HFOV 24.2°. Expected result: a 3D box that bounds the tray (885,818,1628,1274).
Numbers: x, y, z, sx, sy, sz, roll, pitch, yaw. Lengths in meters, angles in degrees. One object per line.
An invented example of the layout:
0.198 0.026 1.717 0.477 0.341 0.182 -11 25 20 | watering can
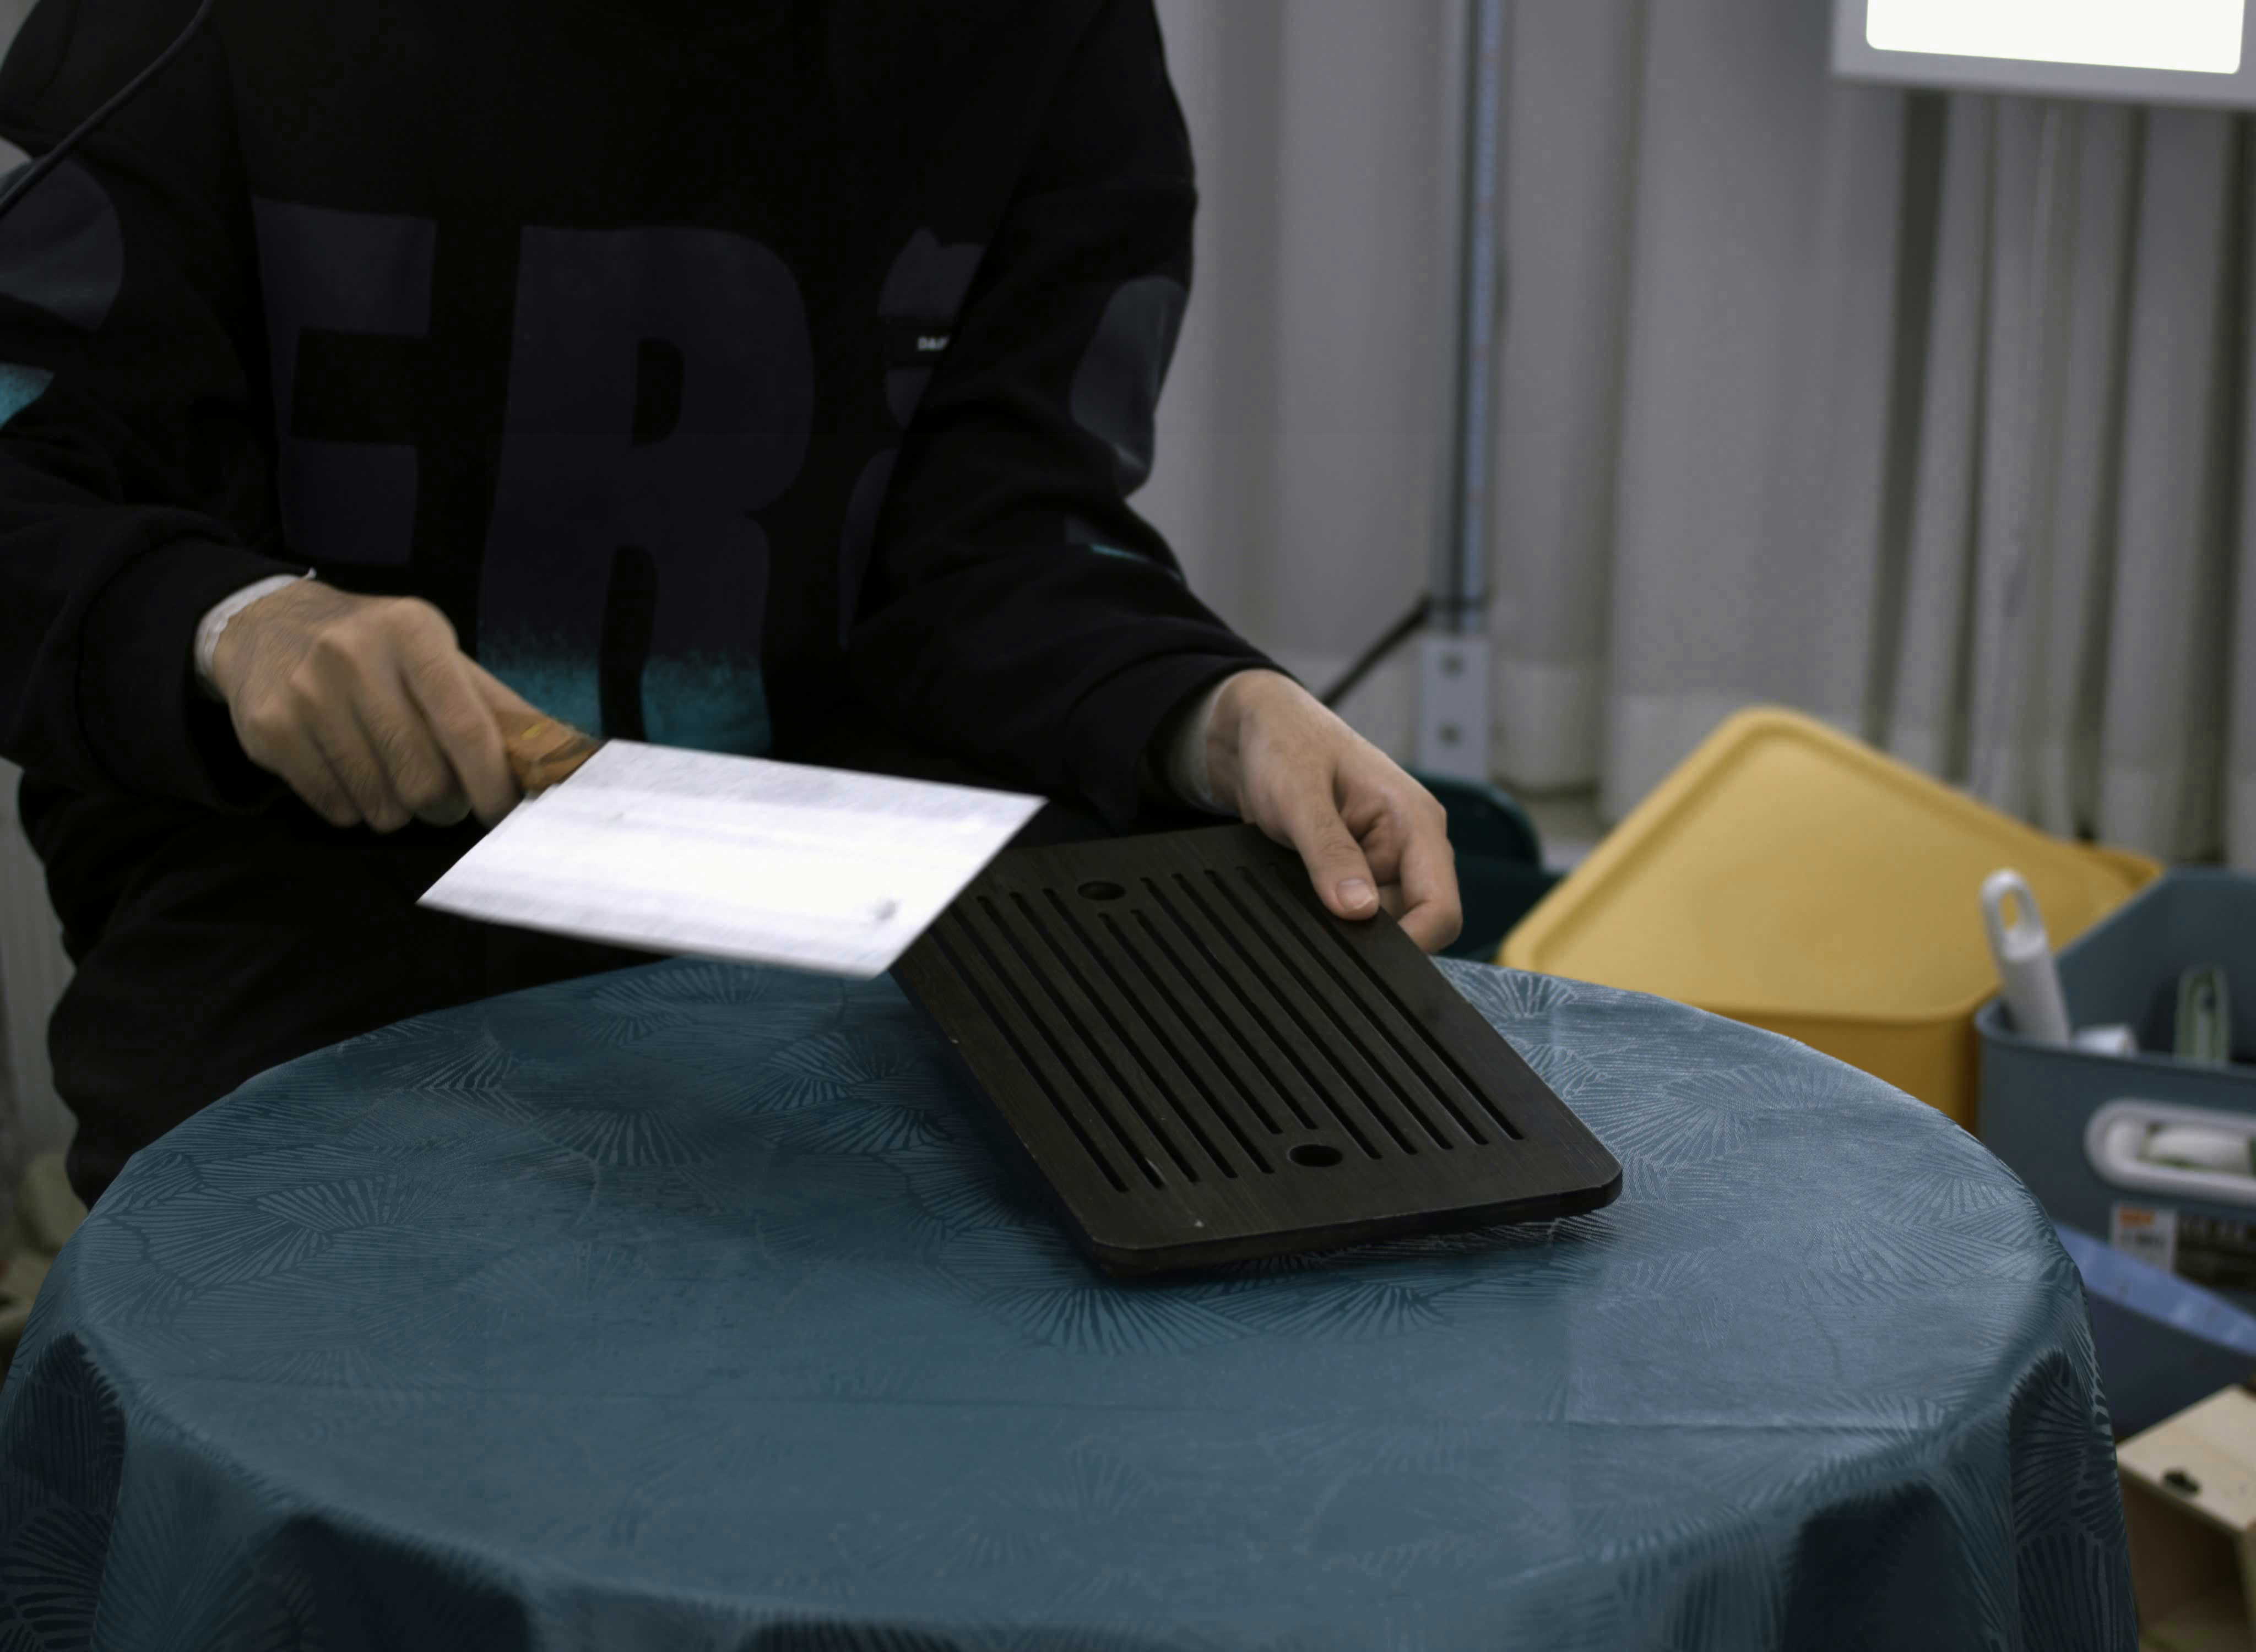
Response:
0.028 0.067 1.691 0.170 0.019 0.302 -6 23 -17 | tray

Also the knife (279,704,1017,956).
-0.170 0.003 1.646 0.302 0.021 0.093 8 42 38 | knife
